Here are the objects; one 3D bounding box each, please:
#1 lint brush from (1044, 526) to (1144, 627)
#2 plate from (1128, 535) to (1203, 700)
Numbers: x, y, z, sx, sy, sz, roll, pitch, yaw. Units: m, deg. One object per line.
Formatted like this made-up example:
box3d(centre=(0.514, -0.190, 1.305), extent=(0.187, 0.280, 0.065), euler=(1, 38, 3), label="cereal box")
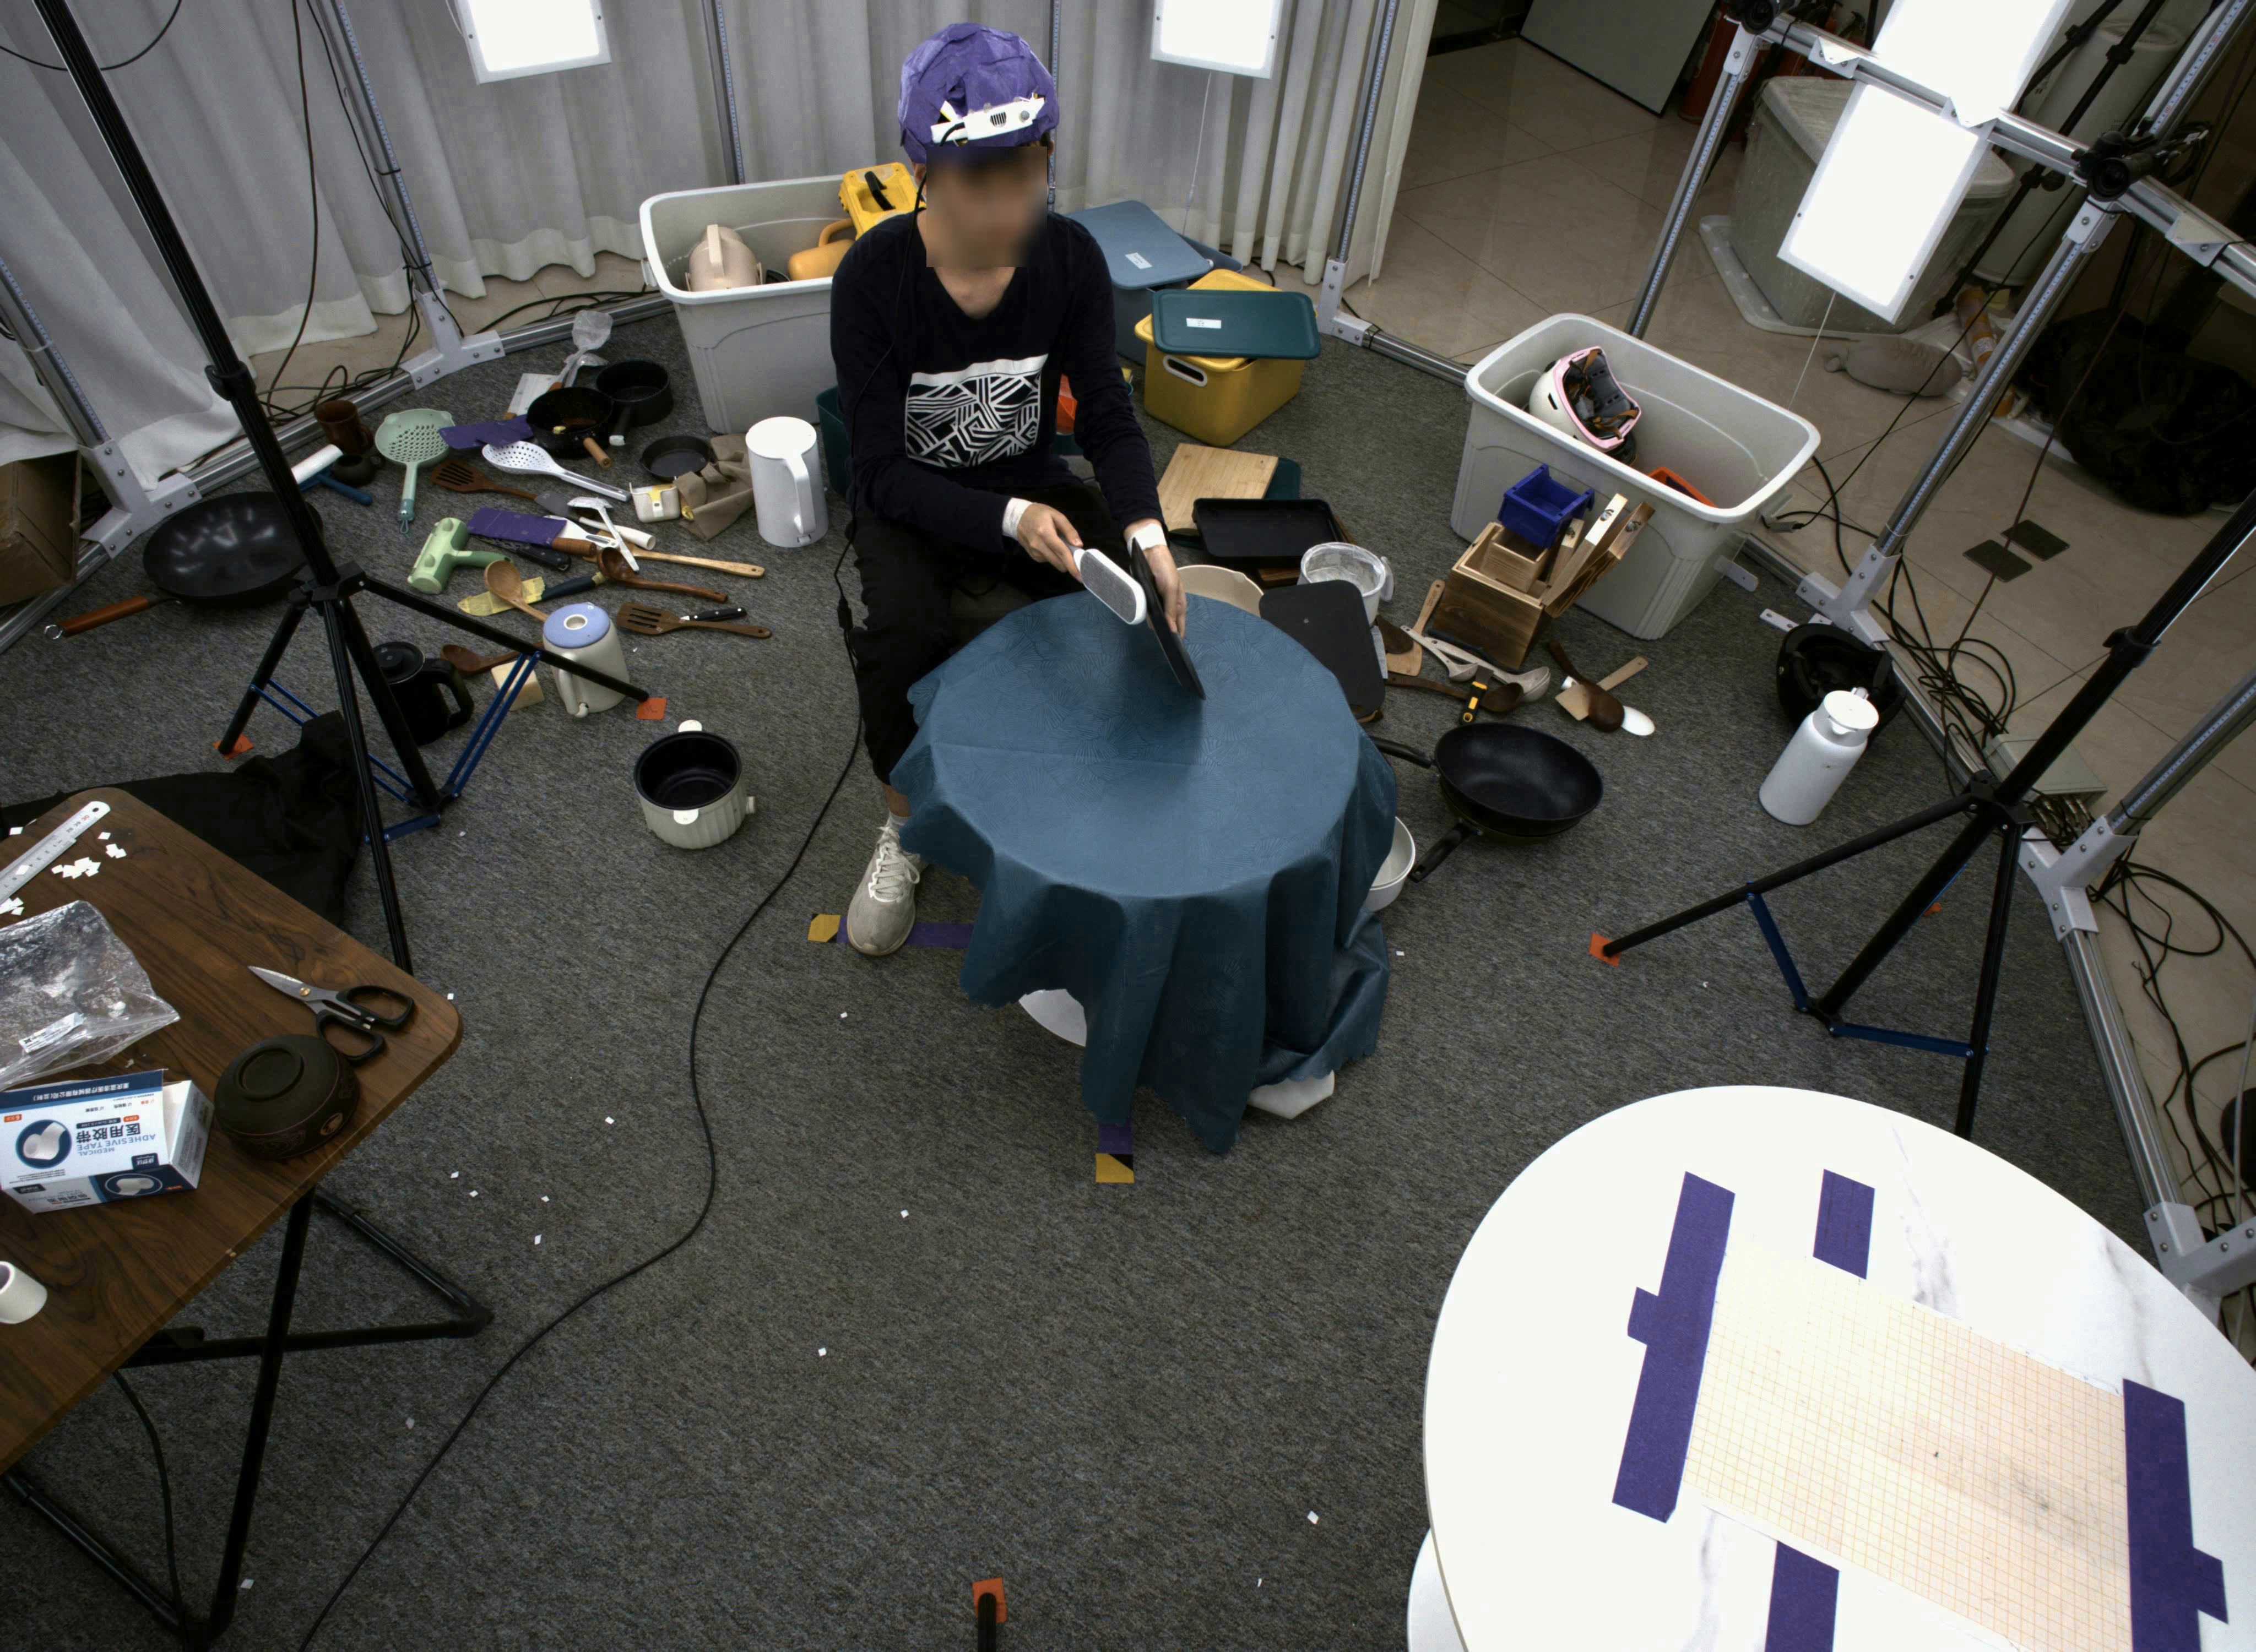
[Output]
box3d(centre=(-0.051, -0.357, 1.789), extent=(0.021, 0.059, 0.315), euler=(-14, 36, -21), label="lint brush")
box3d(centre=(0.047, -0.283, 1.770), extent=(0.023, 0.239, 0.250), euler=(-23, 51, 8), label="plate")
